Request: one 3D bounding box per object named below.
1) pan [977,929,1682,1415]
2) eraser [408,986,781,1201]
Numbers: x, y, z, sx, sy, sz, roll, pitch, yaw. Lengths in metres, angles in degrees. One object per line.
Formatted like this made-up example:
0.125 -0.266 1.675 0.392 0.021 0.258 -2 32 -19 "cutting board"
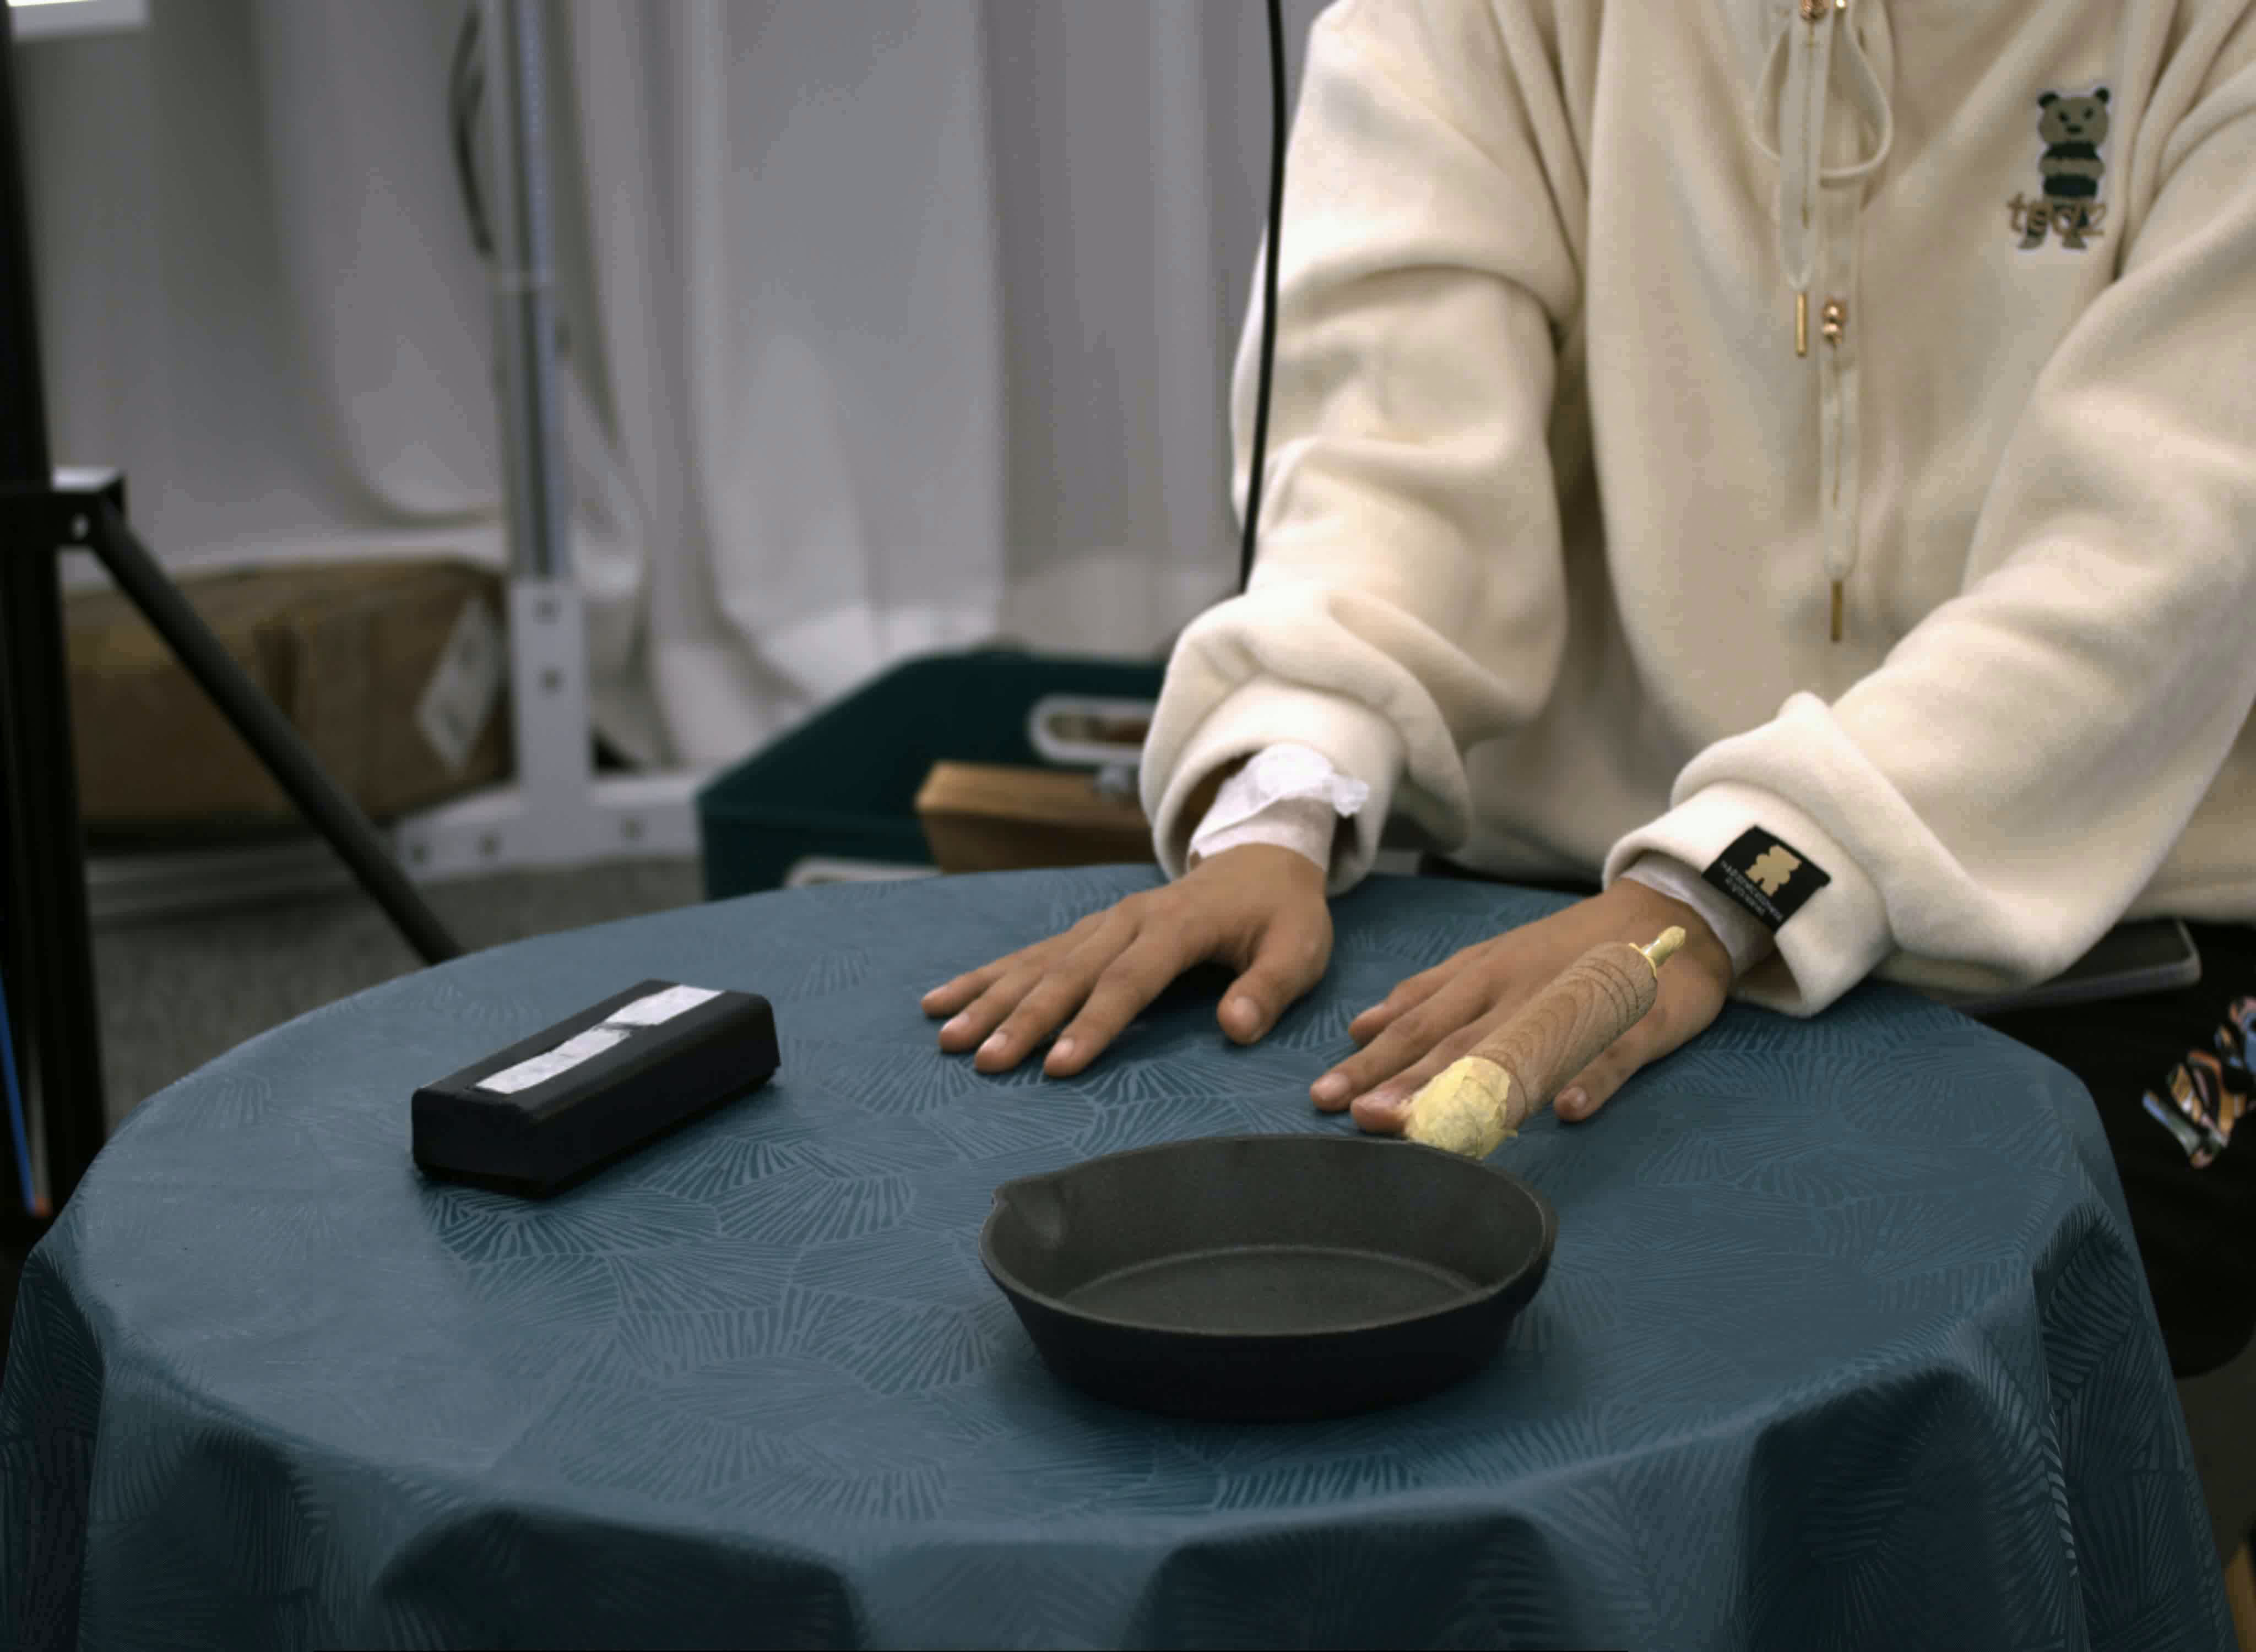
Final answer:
0.083 0.094 1.498 0.172 0.049 0.318 6 19 33 "pan"
-0.162 0.081 1.631 0.054 0.030 0.123 8 18 31 "eraser"
